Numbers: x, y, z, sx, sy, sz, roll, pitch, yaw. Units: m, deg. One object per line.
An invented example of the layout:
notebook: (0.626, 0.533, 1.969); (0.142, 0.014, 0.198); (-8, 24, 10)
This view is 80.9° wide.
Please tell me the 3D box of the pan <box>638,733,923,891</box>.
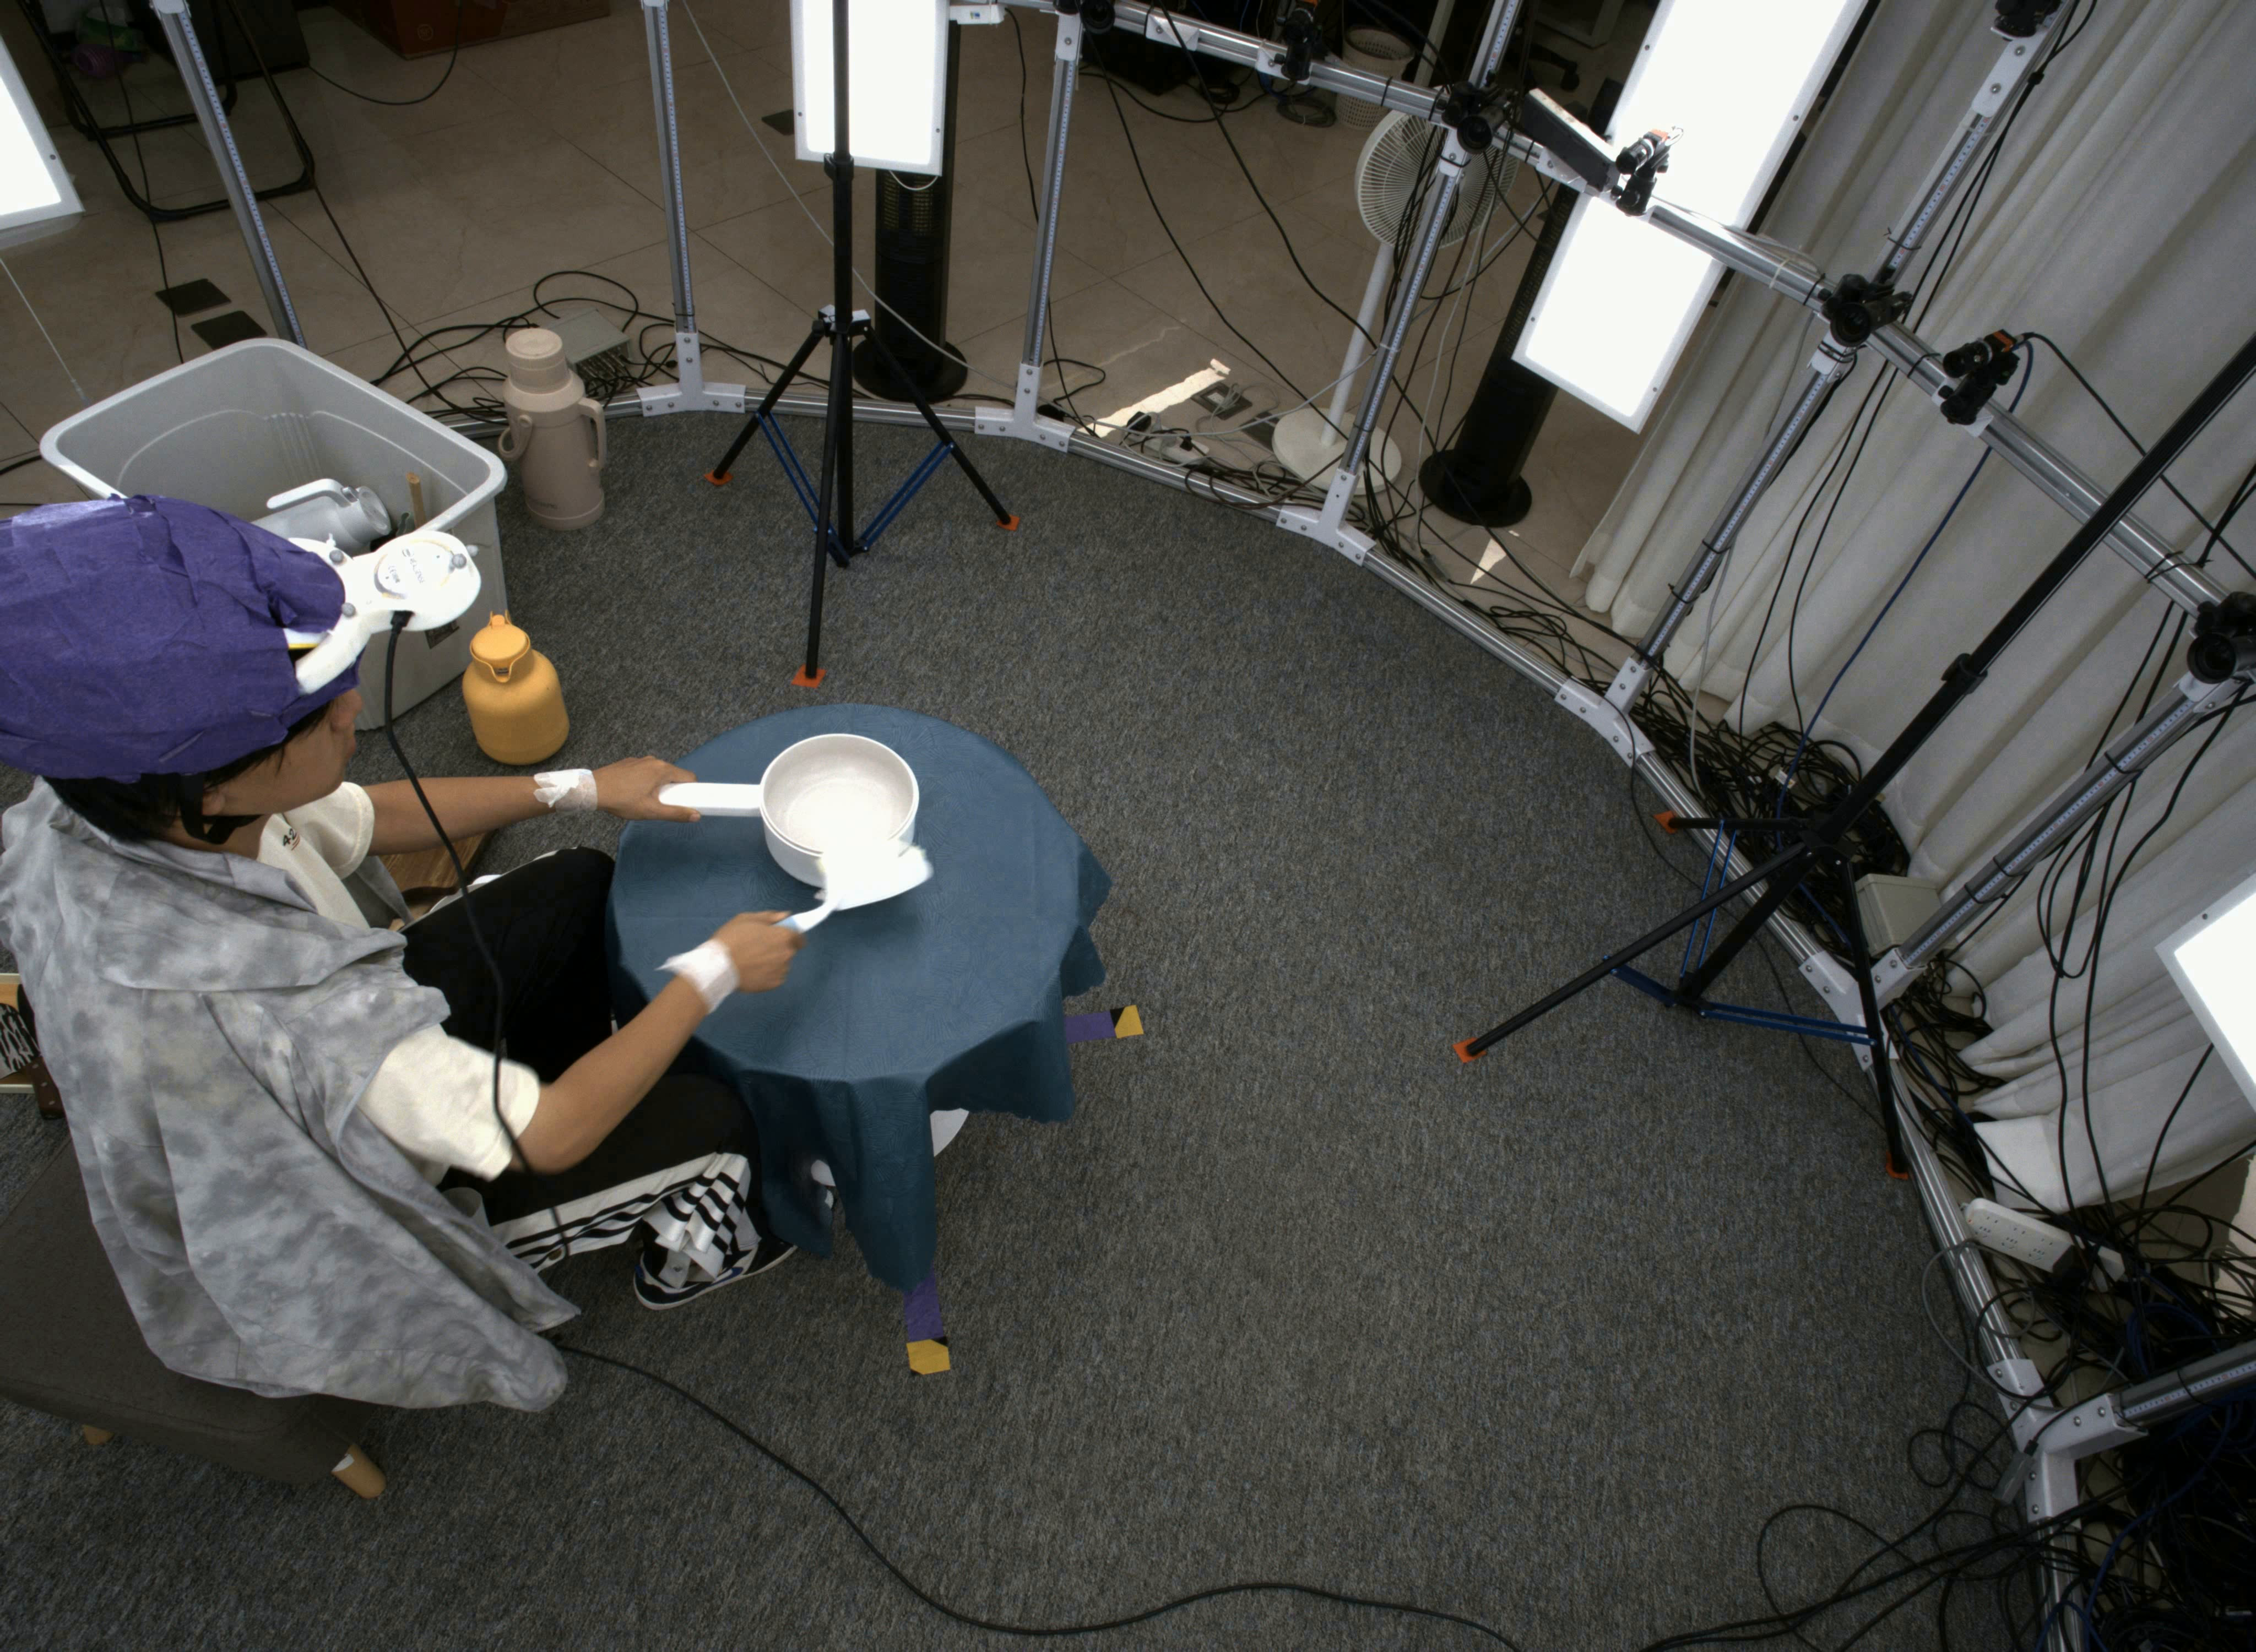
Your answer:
pan: (-0.443, -0.014, 1.668); (0.355, 0.104, 0.197); (1, 54, -13)

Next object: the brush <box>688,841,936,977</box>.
brush: (-0.384, 0.086, 1.555); (0.327, 0.082, 0.084); (-23, 97, -31)
